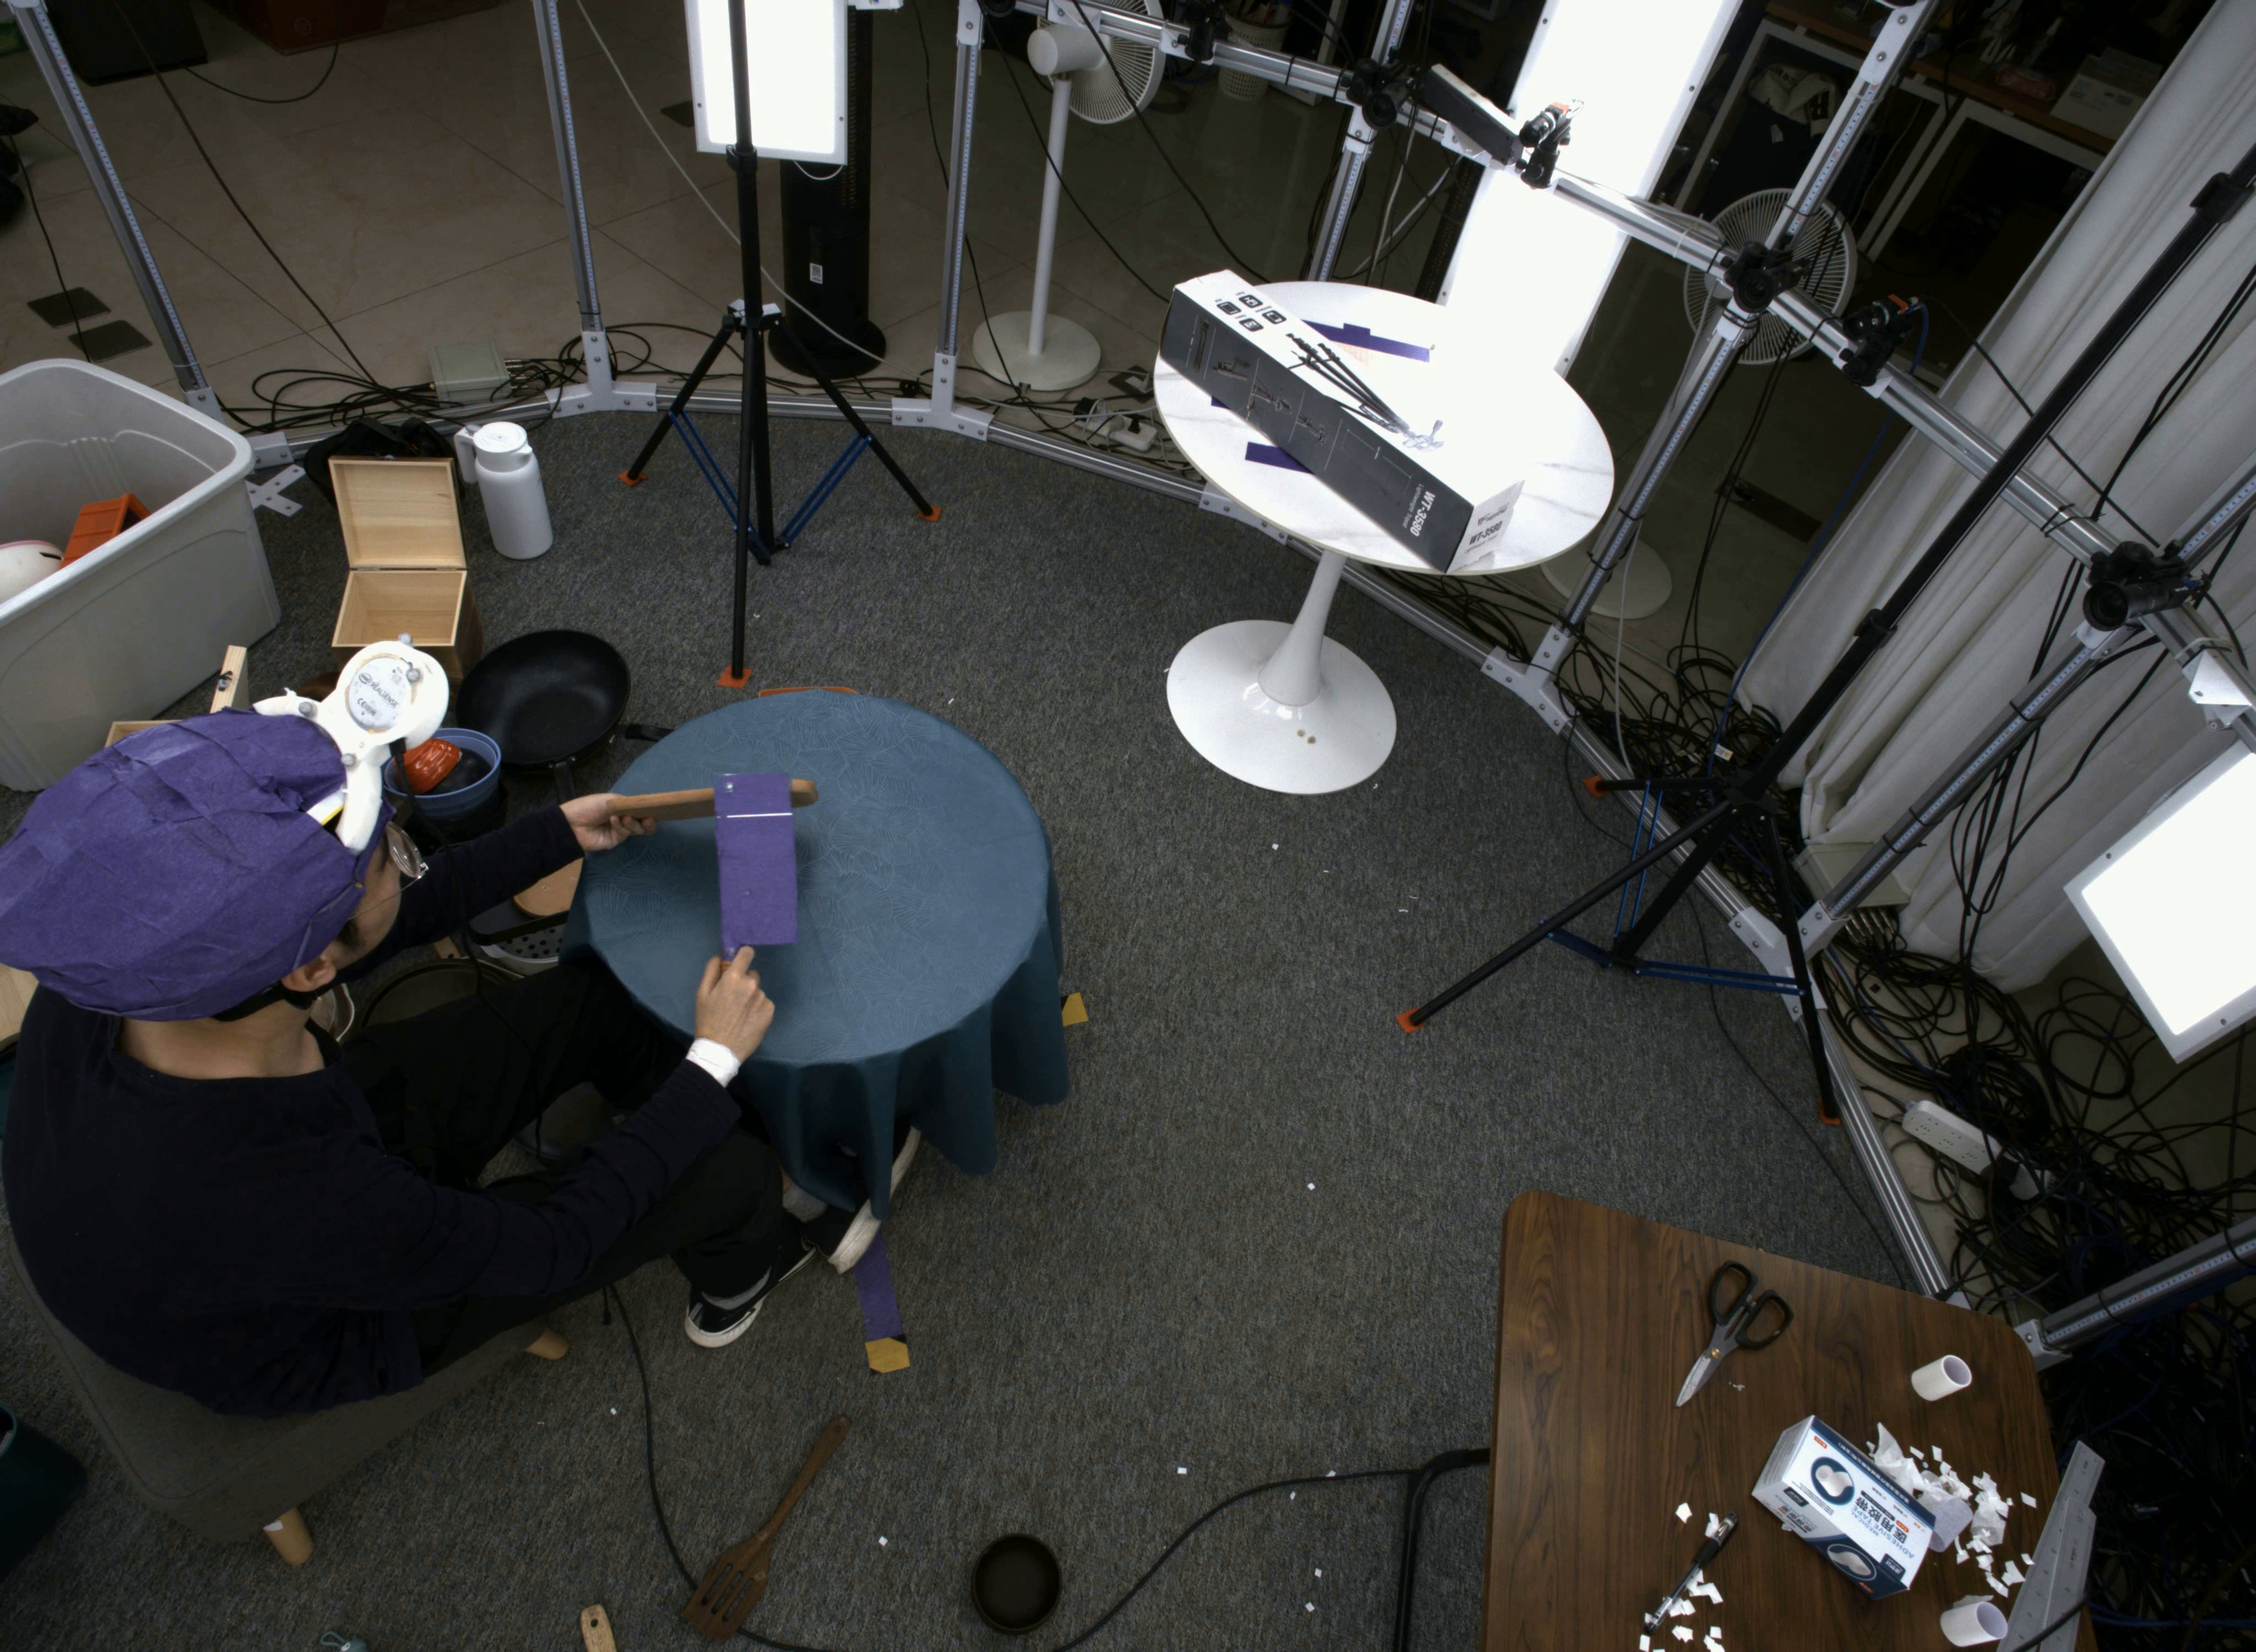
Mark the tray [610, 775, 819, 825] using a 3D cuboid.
[{"bbox_3d":[-0.517,-0.033,1.618,0.249,0.131,0.023,-8,79,-9],"label":"tray"}]

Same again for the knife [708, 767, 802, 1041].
[{"bbox_3d":[-0.431,0.086,1.517,0.105,0.031,0.317,-2,84,-29],"label":"knife"}]
